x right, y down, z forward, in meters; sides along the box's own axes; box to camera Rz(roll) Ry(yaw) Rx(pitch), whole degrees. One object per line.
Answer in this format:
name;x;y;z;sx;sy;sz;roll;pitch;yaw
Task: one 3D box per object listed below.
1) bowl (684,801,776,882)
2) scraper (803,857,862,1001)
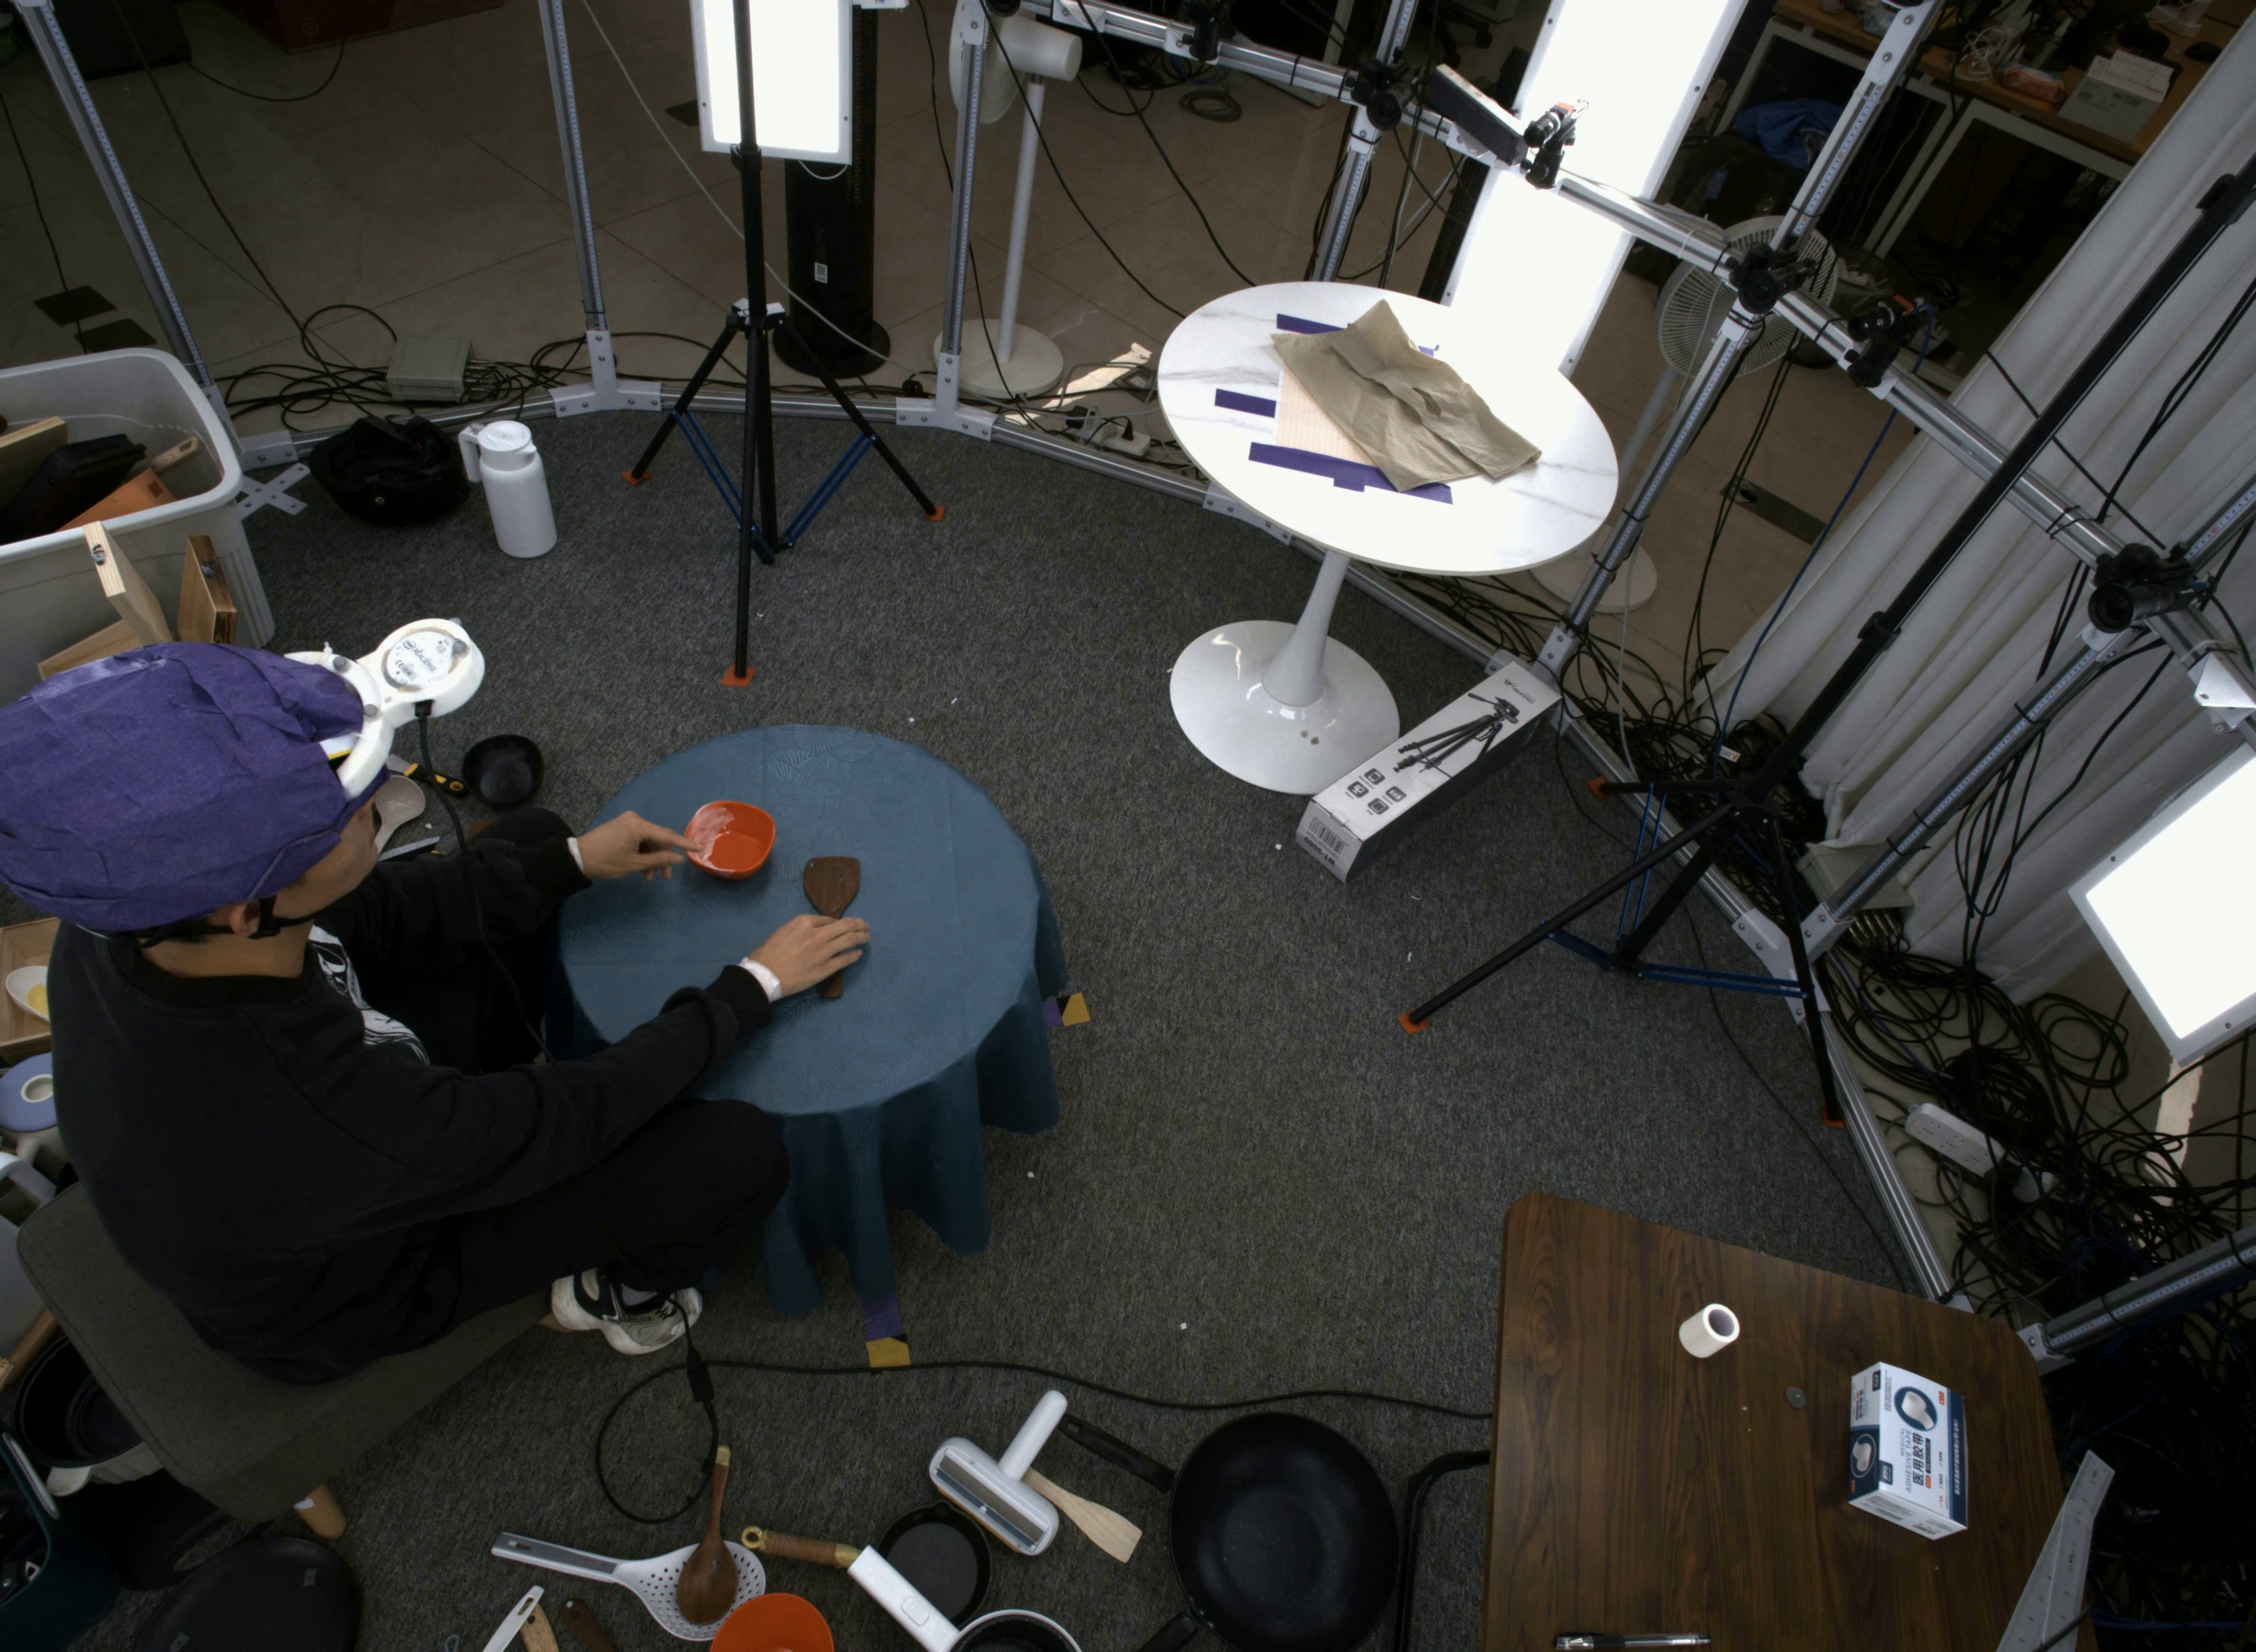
bowl;-0.508;0.026;1.655;0.119;0.052;0.117;9;51;-10
scraper;-0.375;0.126;1.643;0.076;0.011;0.207;0;55;-13
